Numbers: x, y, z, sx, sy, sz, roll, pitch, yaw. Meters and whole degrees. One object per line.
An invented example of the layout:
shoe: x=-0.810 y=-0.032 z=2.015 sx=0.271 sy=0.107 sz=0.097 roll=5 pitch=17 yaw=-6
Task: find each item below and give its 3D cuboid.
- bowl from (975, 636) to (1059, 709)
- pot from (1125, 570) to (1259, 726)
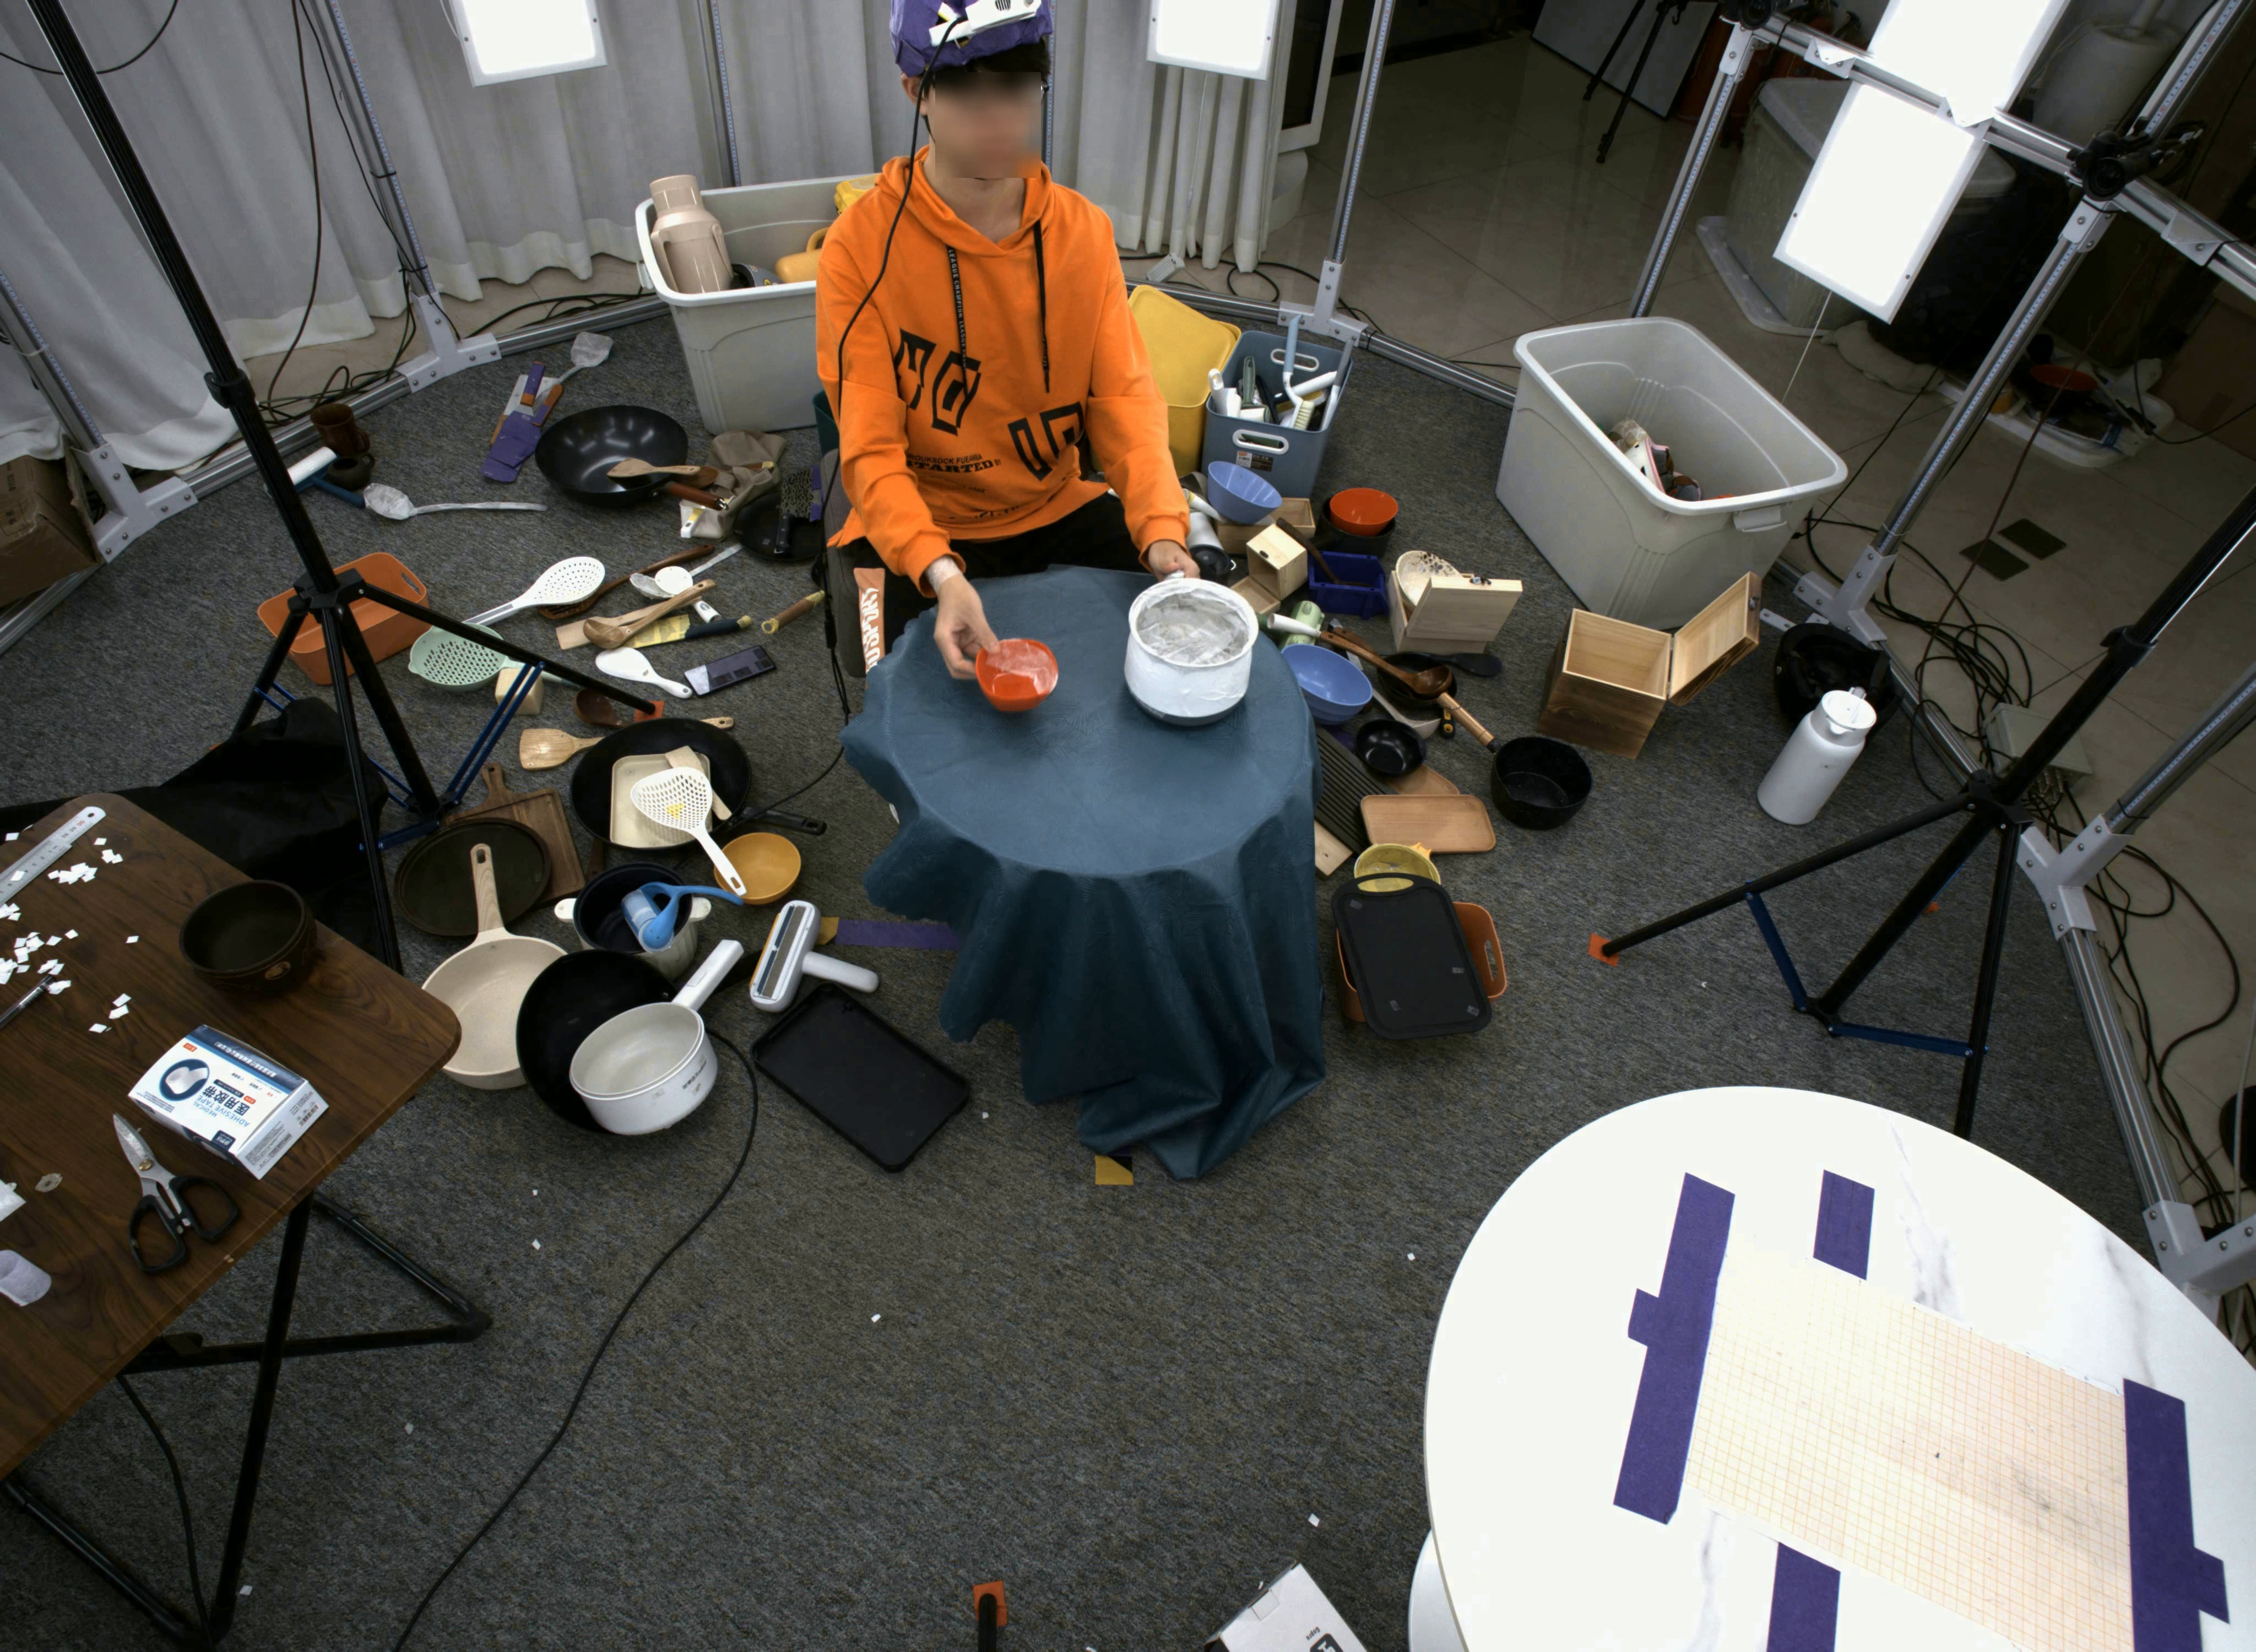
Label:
bowl: x=-0.151 y=-0.202 z=1.748 sx=0.119 sy=0.050 sz=0.122 roll=2 pitch=52 yaw=-3
pot: x=0.079 y=-0.260 z=1.809 sx=0.178 sy=0.133 sz=0.239 roll=-7 pitch=51 yaw=-11
